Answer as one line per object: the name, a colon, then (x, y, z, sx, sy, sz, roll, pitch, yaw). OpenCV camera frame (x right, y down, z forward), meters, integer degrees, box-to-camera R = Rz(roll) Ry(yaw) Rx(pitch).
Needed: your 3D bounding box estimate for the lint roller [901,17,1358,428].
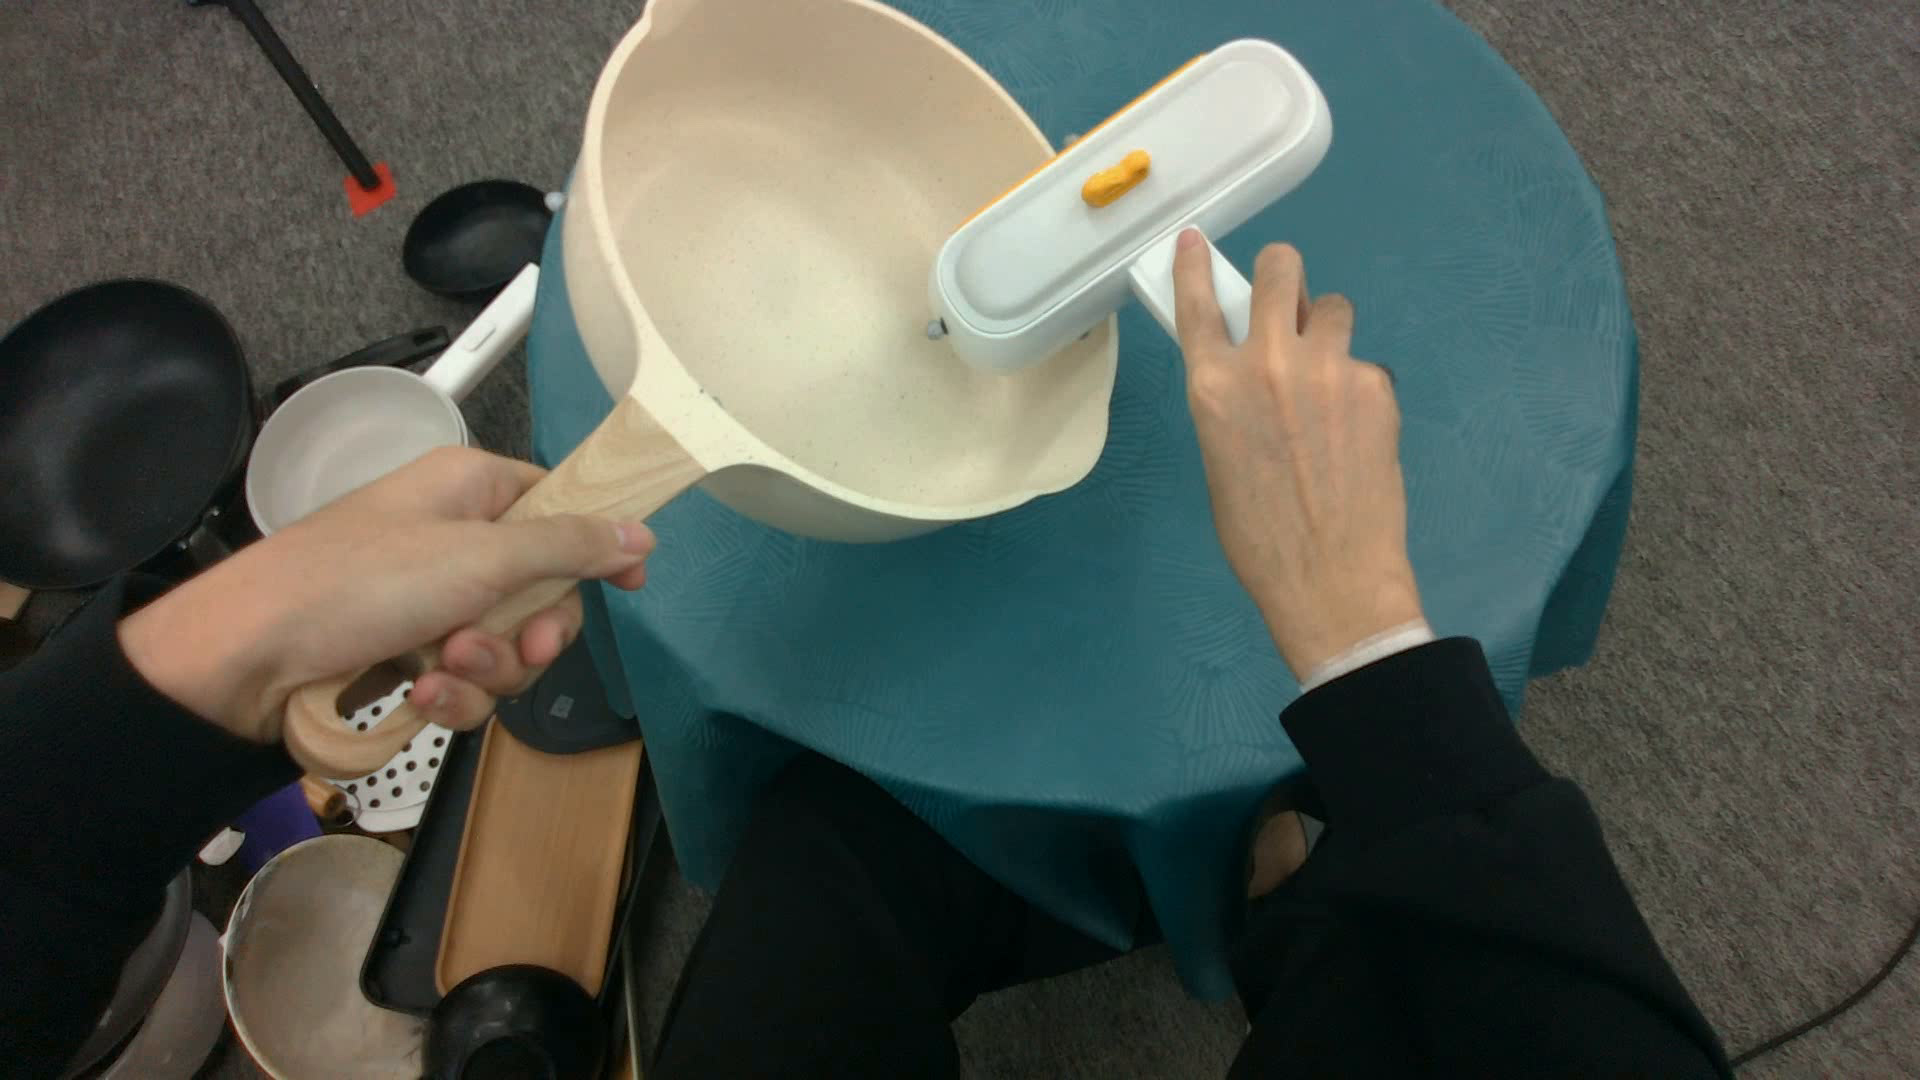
lint roller: (0.092, -0.114, 0.577, 0.193, 0.074, 0.193, -35, 67, -2)

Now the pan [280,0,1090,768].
pan: (-0.103, -0.072, 0.540, 0.263, 0.101, 0.437, 48, 51, -14)
